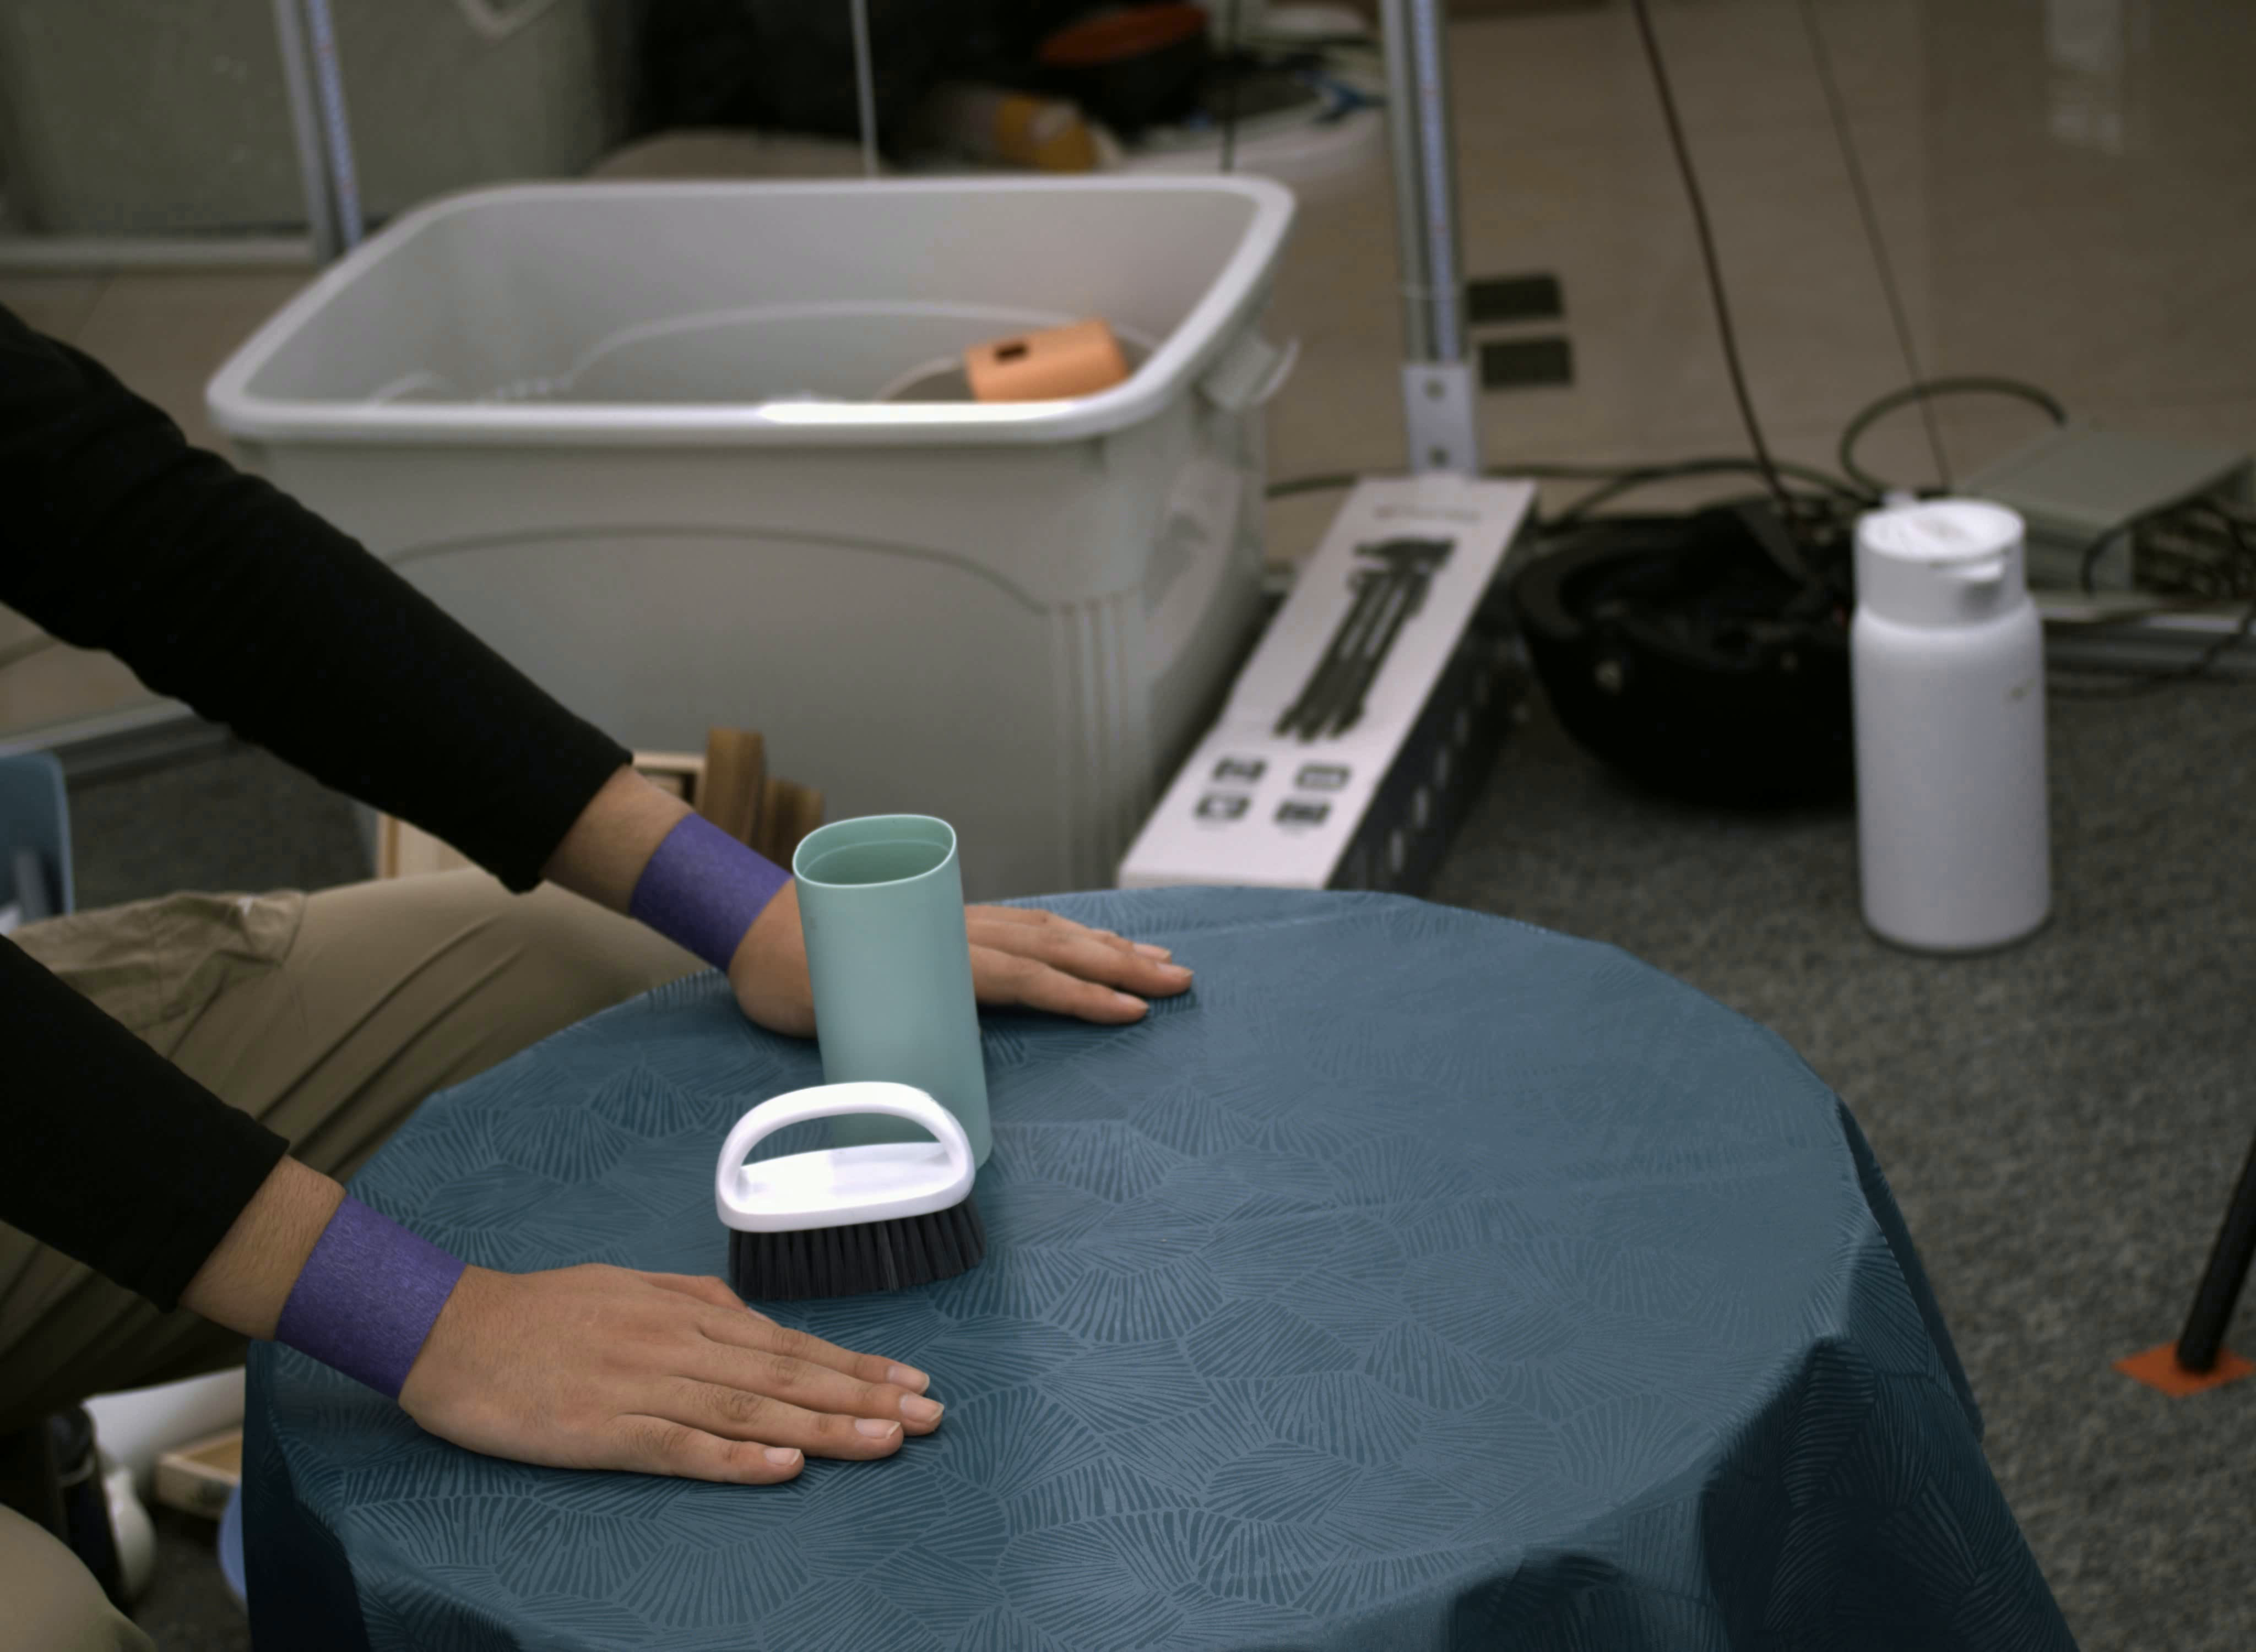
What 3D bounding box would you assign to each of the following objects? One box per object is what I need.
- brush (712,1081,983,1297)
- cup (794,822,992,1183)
[{"bbox_3d":[-0.106,0.130,2.103,0.099,0.073,0.049,-5,24,0],"label":"brush"},{"bbox_3d":[-0.089,0.071,2.167,0.066,0.134,0.066,-5,26,2],"label":"cup"}]
